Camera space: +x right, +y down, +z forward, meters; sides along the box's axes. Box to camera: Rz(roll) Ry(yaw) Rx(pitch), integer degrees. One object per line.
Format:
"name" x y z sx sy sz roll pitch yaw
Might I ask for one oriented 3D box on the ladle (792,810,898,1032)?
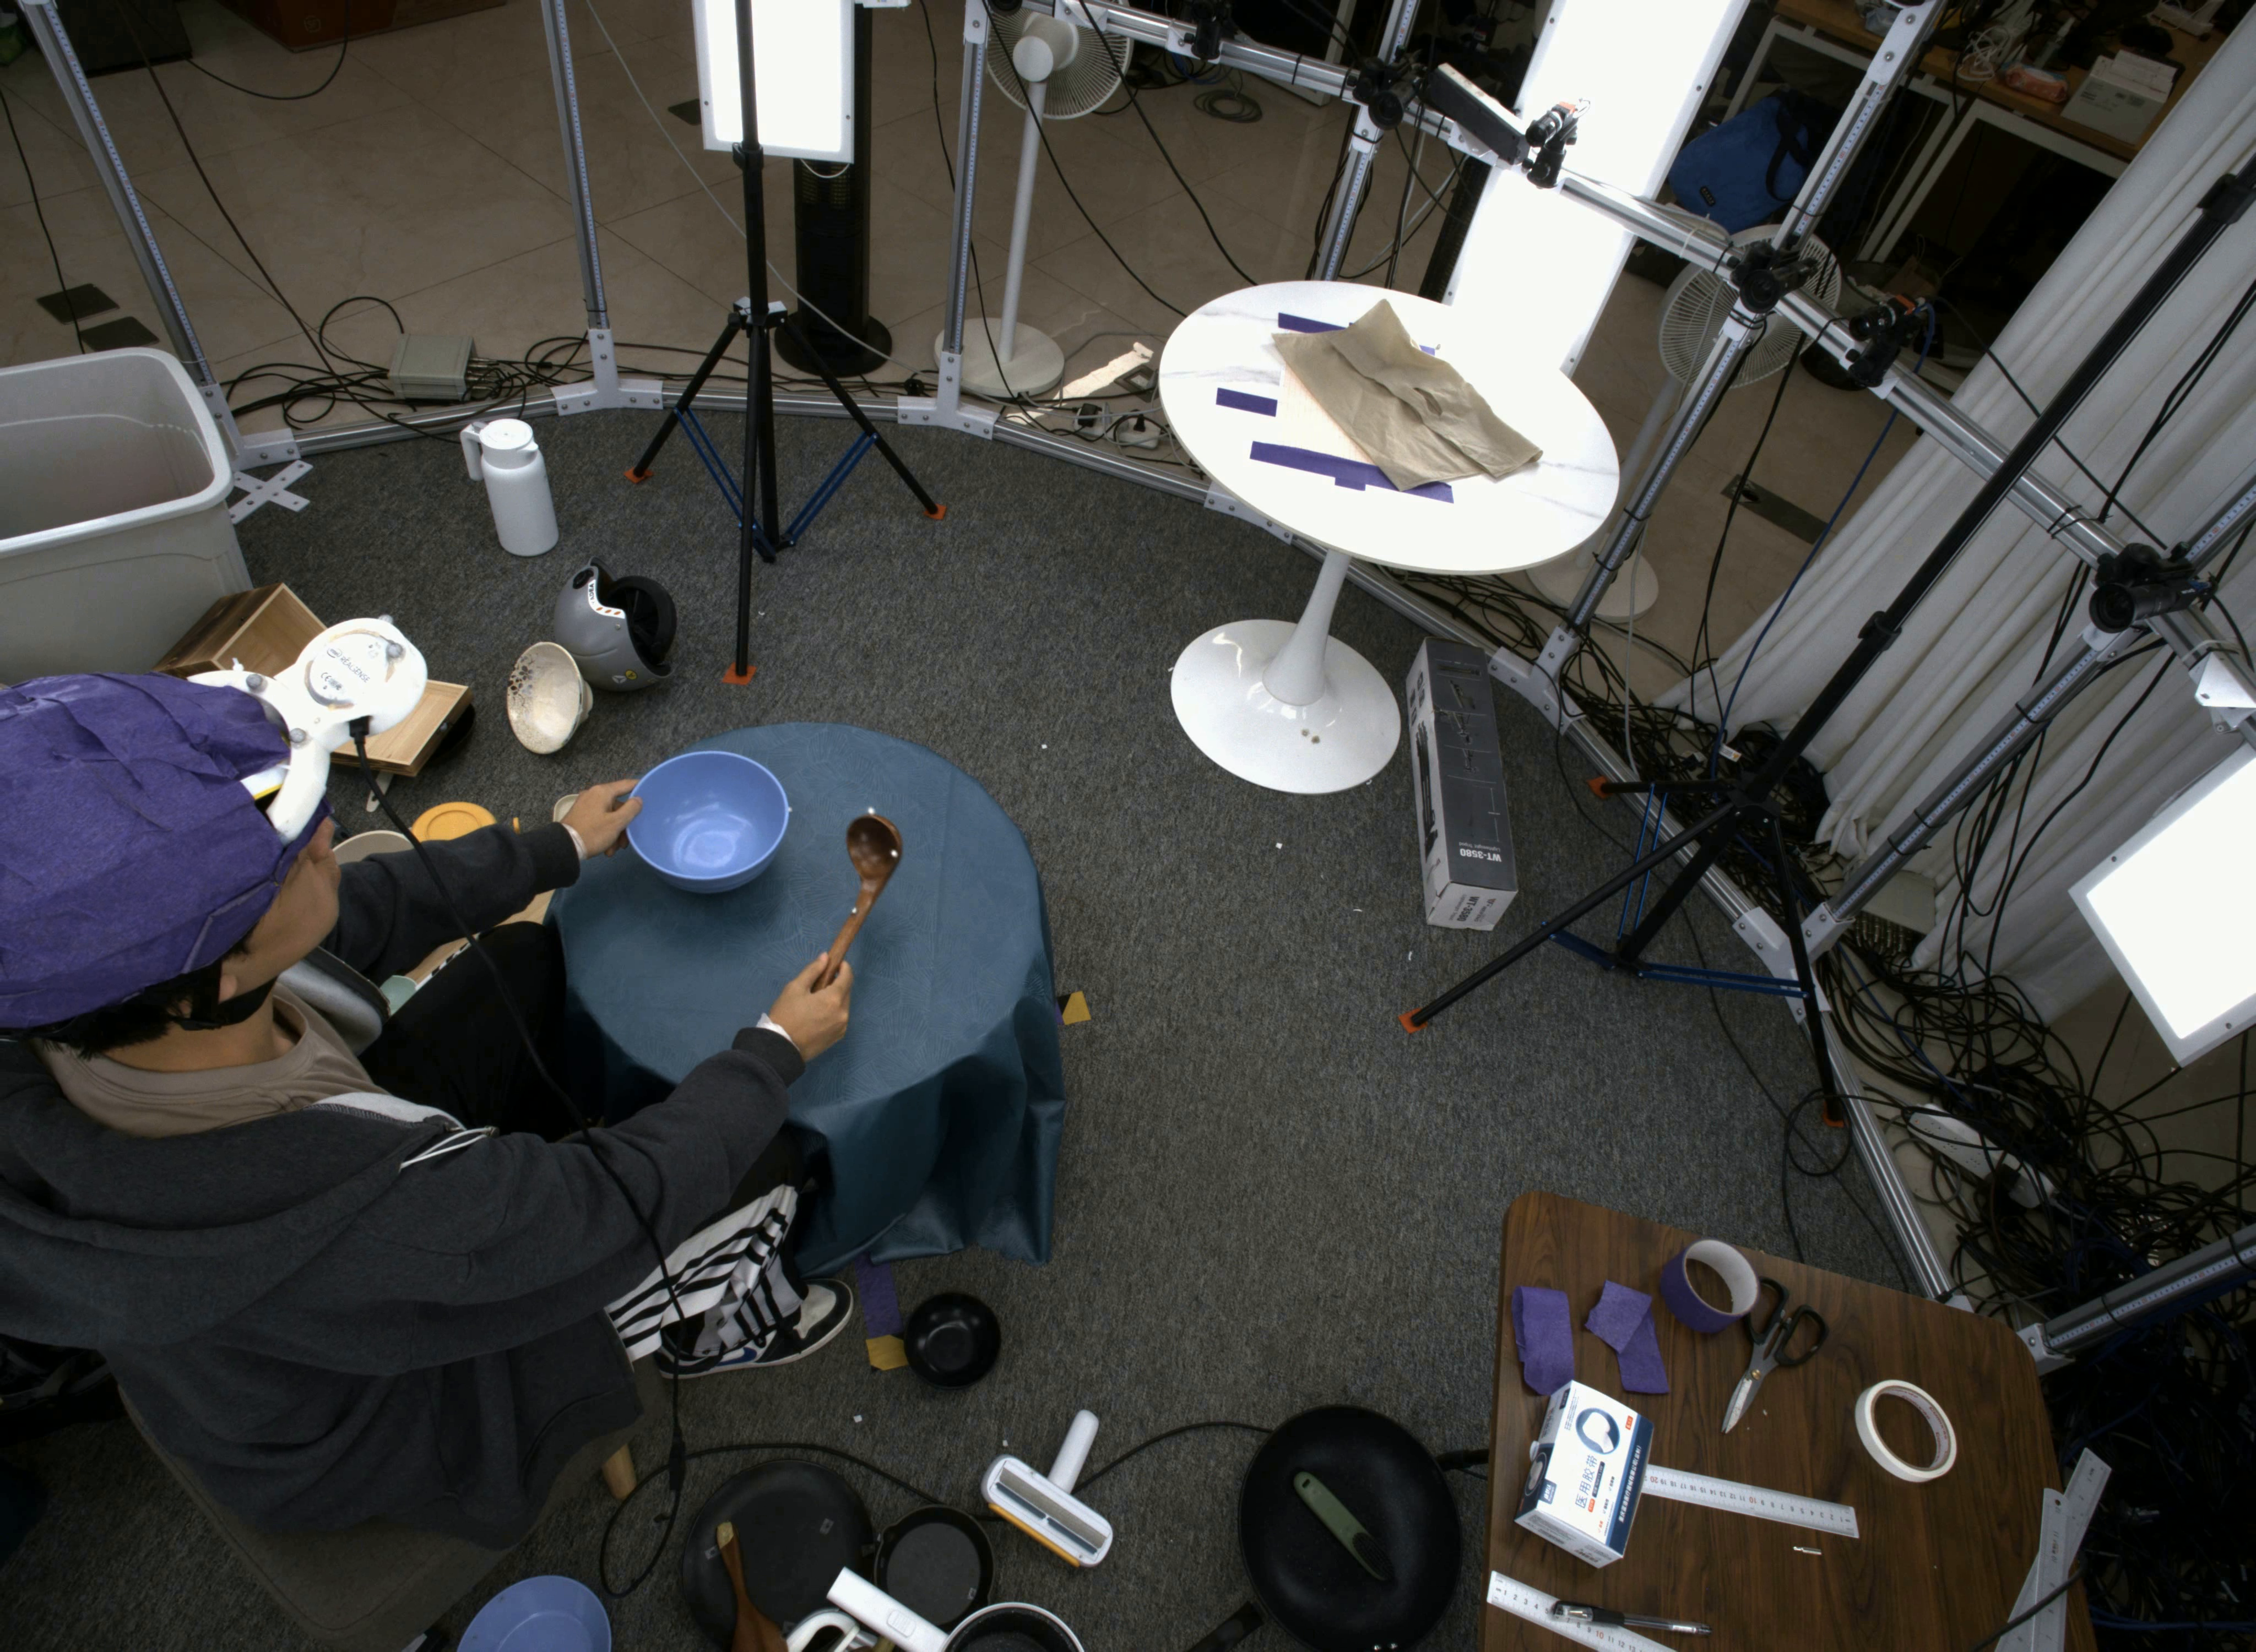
"ladle" -0.346 0.102 1.528 0.079 0.079 0.272 -3 50 32

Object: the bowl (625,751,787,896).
"bowl" -0.527 0.011 1.625 0.196 0.097 0.193 7 55 -9
